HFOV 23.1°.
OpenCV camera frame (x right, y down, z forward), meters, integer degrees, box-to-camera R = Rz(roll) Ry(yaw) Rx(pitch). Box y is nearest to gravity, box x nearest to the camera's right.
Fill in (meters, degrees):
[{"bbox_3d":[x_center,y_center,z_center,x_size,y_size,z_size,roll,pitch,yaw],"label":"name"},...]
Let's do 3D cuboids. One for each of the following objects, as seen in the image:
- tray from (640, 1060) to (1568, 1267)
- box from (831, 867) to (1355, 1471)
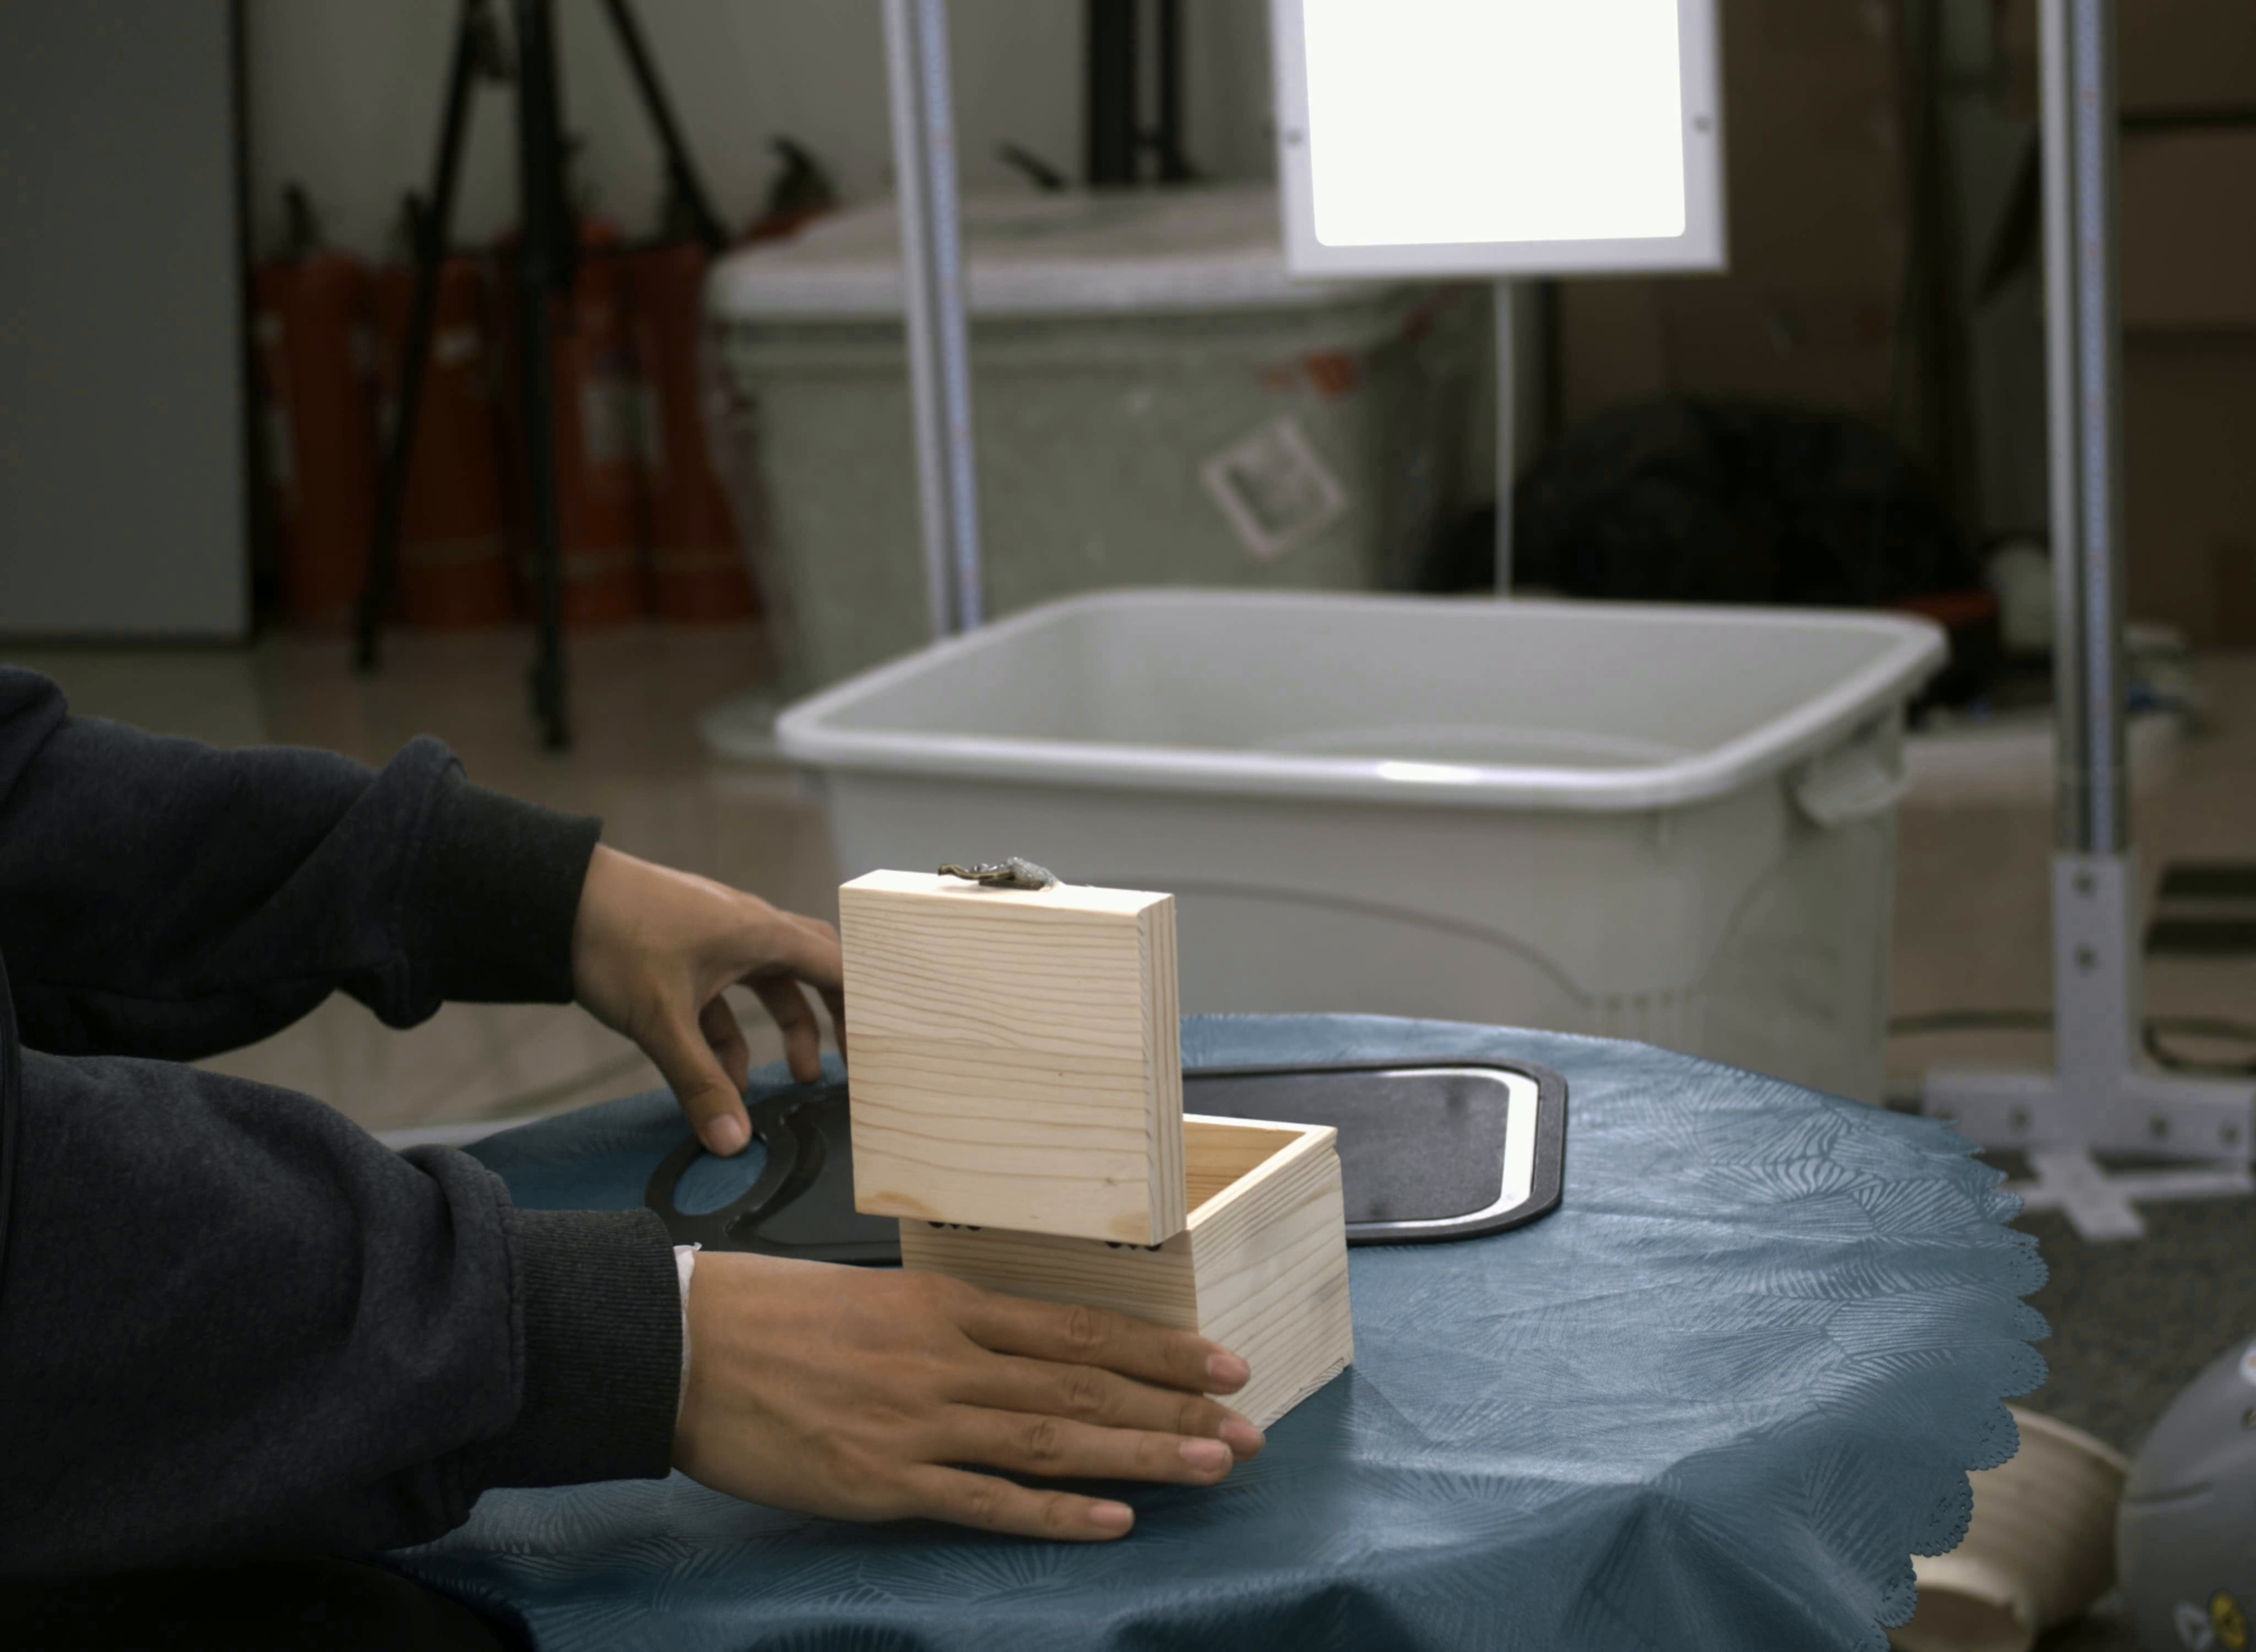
[{"bbox_3d":[-0.009,0.116,1.931,0.327,0.010,0.209,-3,14,9],"label":"tray"},{"bbox_3d":[-0.007,0.090,1.660,0.104,0.185,0.131,3,18,29],"label":"box"}]
